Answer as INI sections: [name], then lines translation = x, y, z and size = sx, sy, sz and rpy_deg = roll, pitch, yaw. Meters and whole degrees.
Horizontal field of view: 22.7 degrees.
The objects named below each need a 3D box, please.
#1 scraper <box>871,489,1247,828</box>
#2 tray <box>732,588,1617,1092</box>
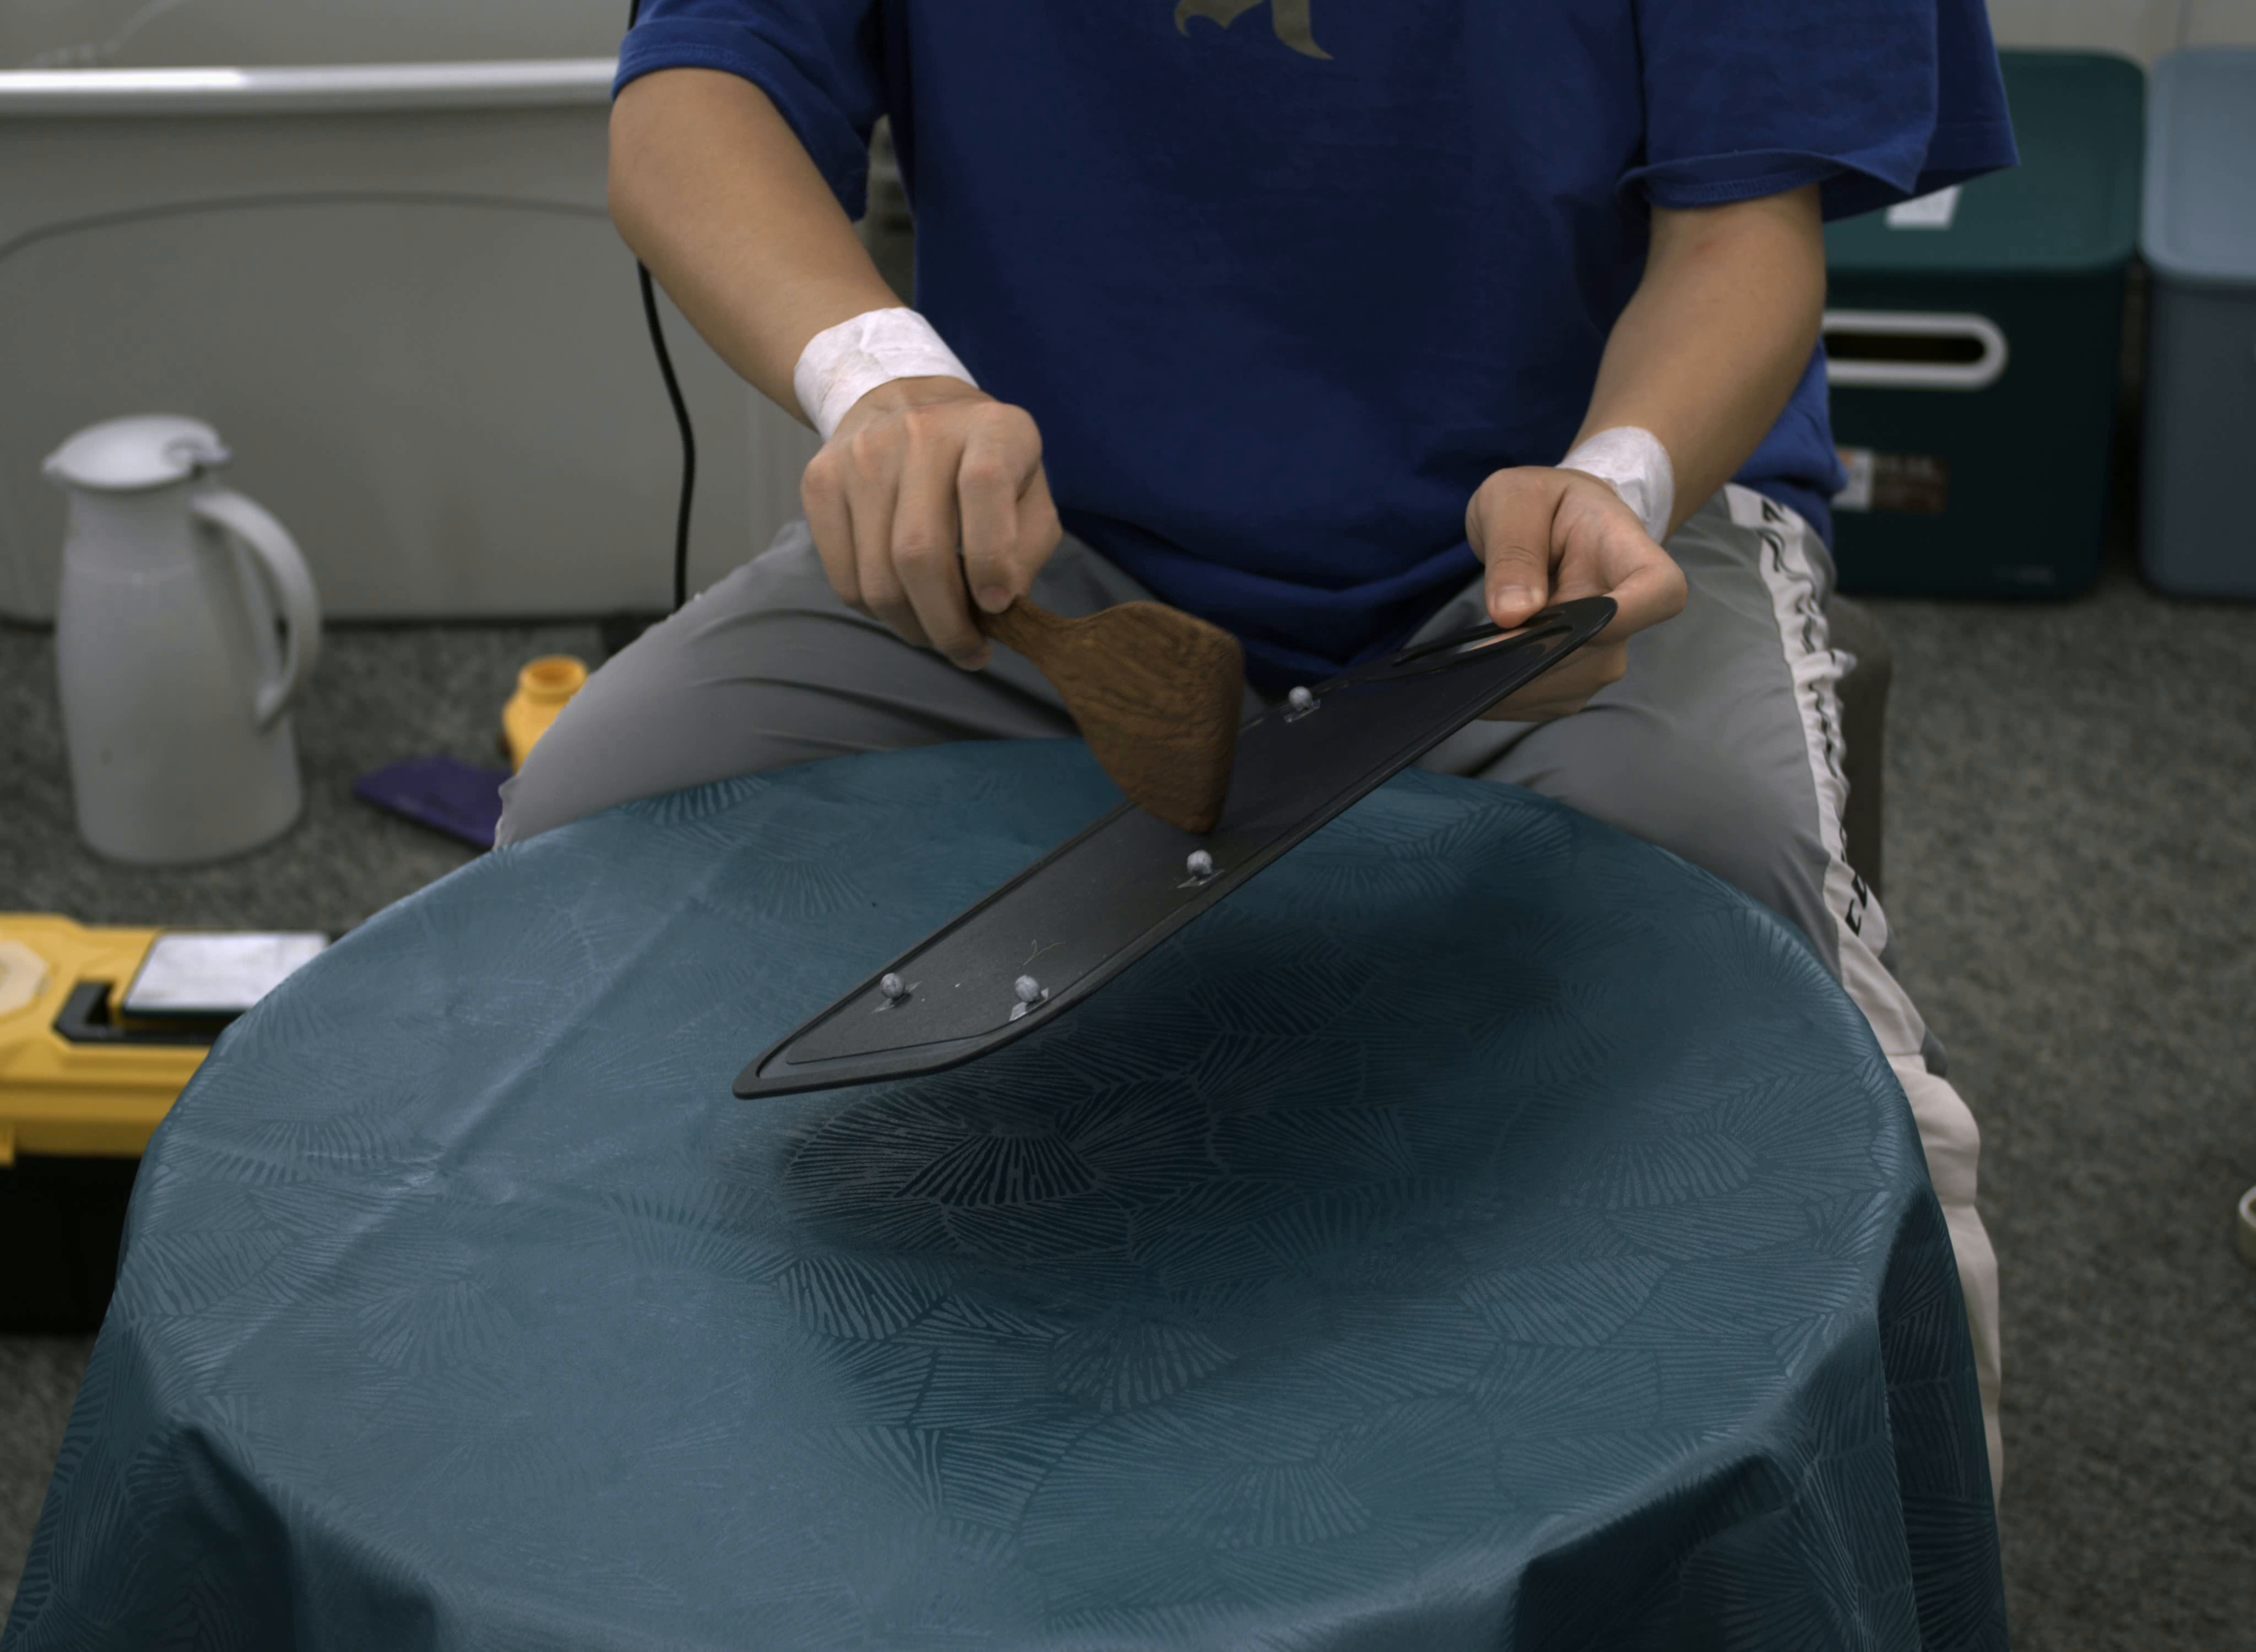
[scraper]
translation = -0.028, -0.068, 1.911
size = 0.011, 0.075, 0.212
rpy_deg = -10, 28, -35
[tray]
translation = 0.021, 0.000, 1.882
size = 0.329, 0.010, 0.209
rpy_deg = -34, 11, -30
